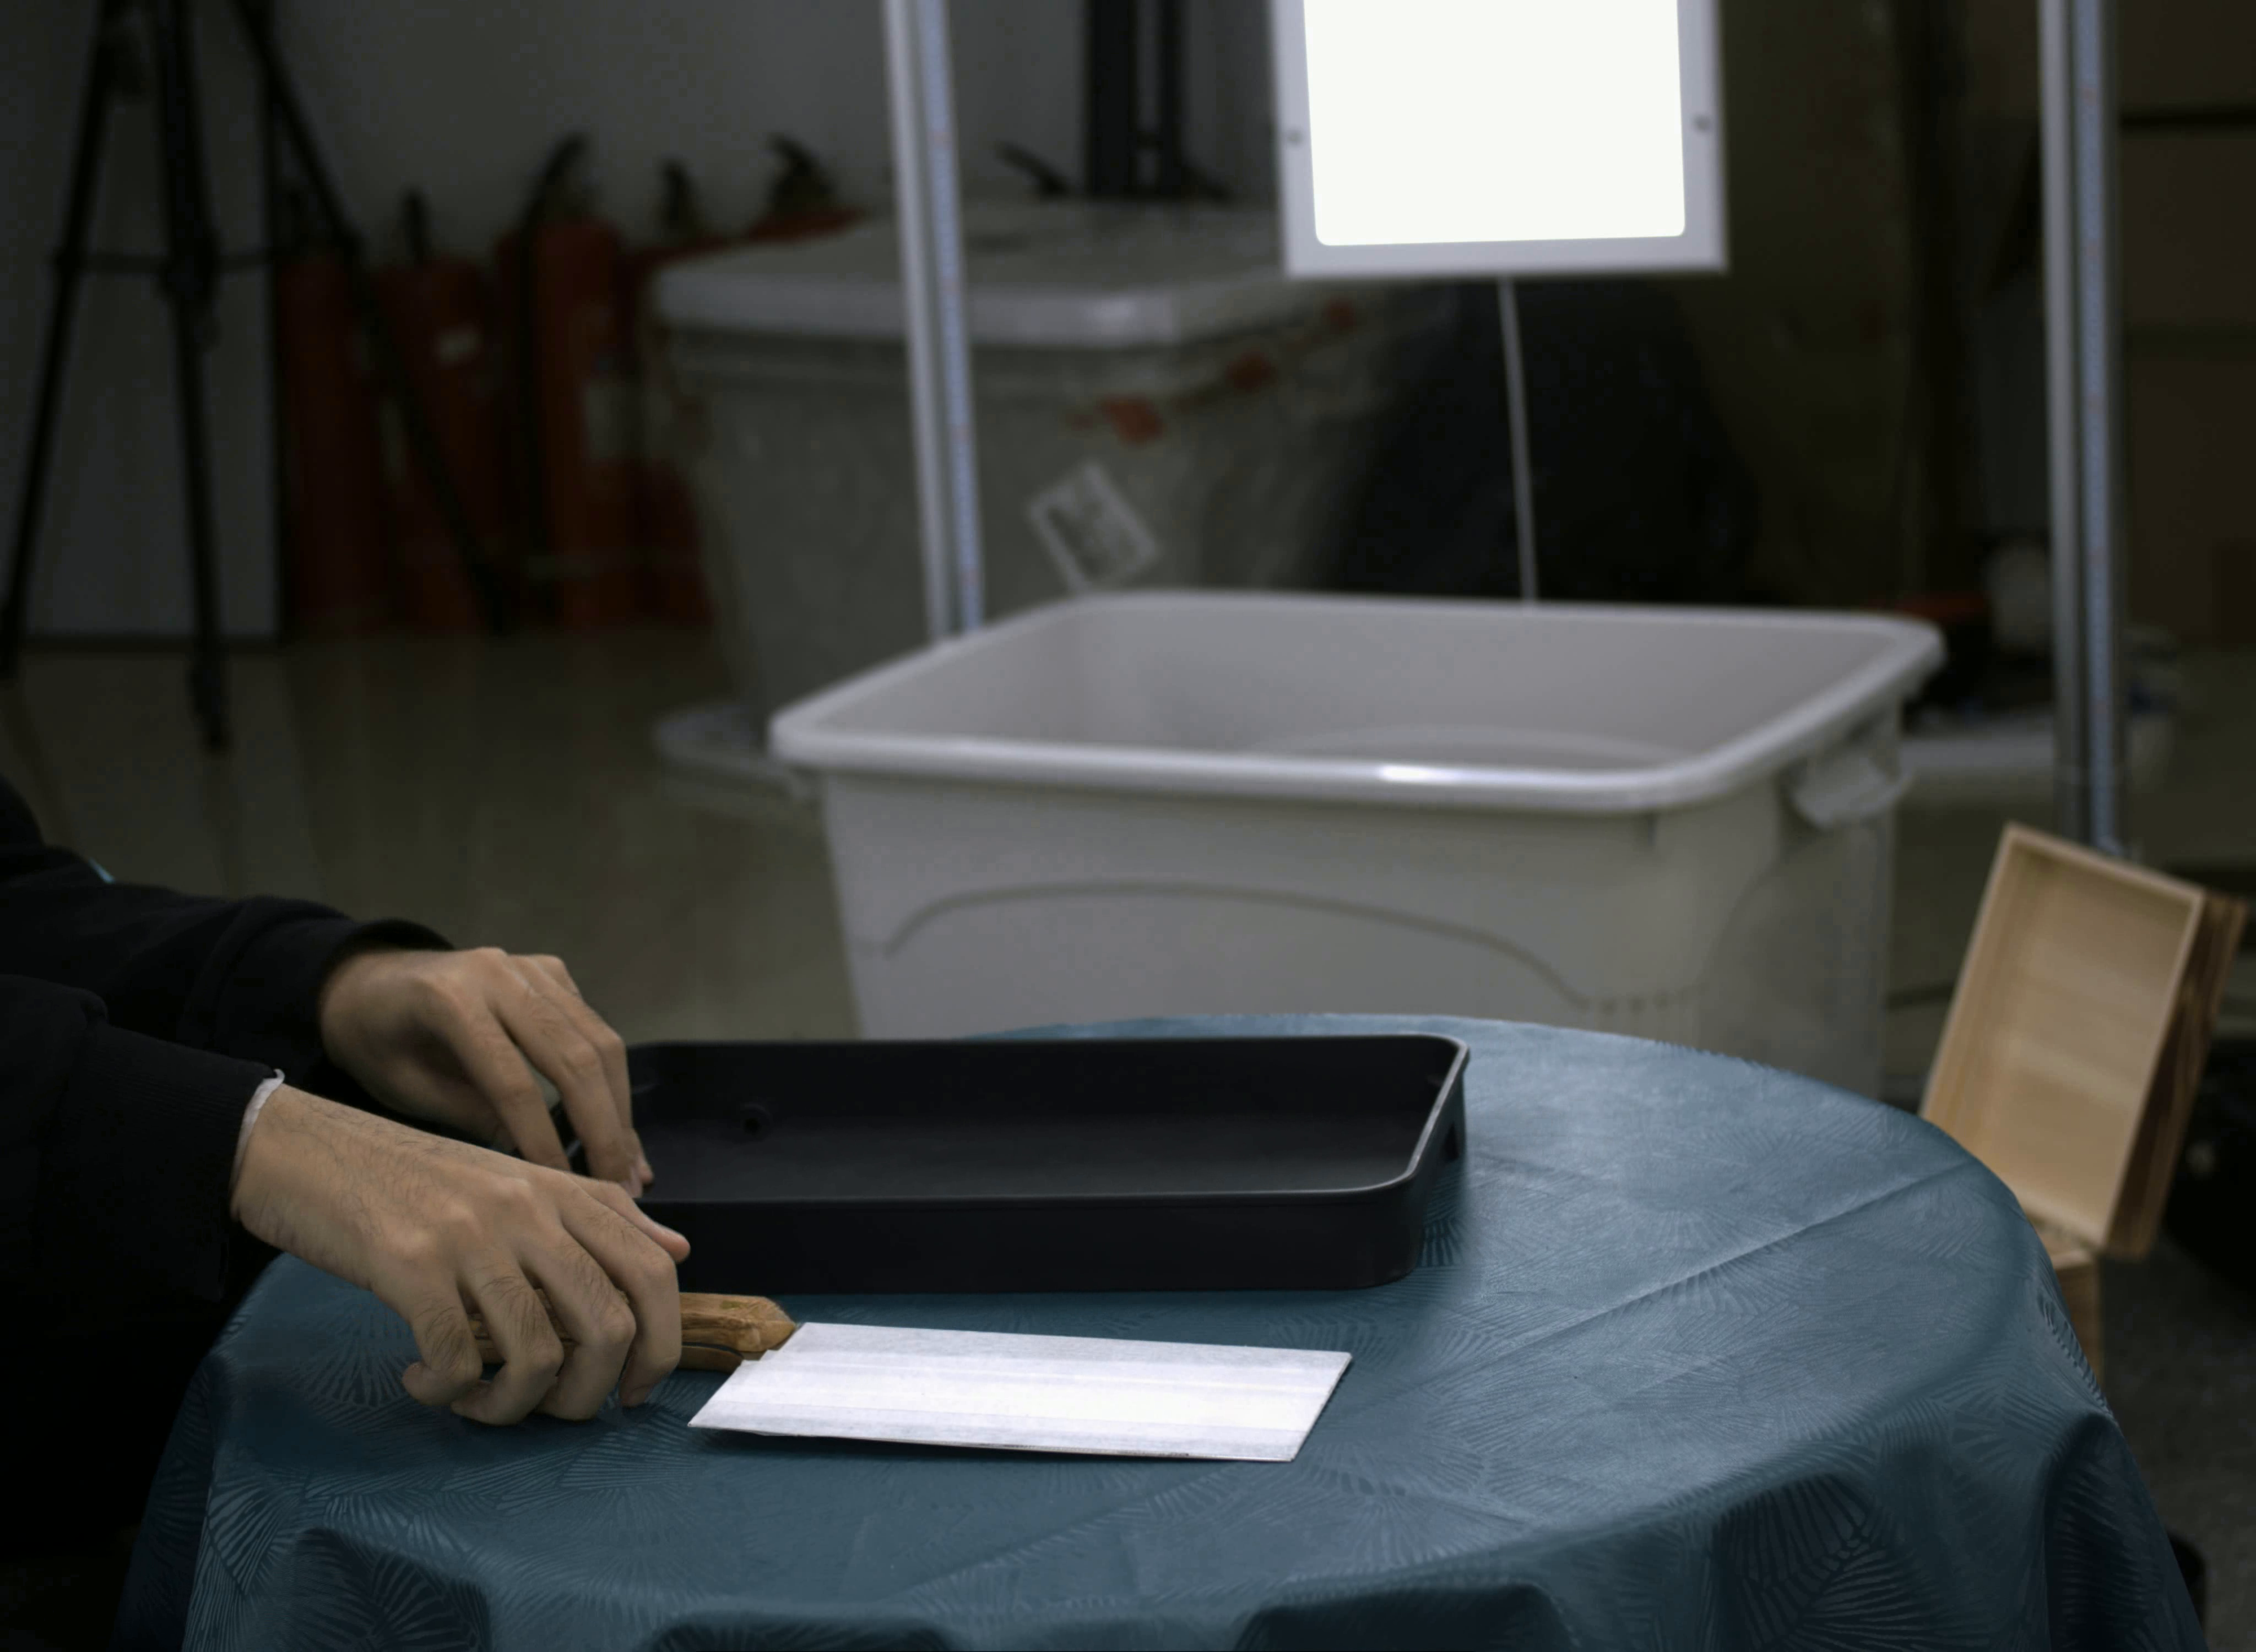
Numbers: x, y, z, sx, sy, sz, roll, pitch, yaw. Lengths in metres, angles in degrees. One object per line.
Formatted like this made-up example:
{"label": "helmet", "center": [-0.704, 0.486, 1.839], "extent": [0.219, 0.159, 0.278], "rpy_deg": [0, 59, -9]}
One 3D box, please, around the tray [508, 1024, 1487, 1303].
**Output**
{"label": "tray", "center": [-0.040, 0.114, 1.887], "extent": [0.320, 0.037, 0.182], "rpy_deg": [-2, 14, 12]}

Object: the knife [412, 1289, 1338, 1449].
{"label": "knife", "center": [-0.087, 0.172, 1.714], "extent": [0.309, 0.021, 0.091], "rpy_deg": [1, 17, 17]}
